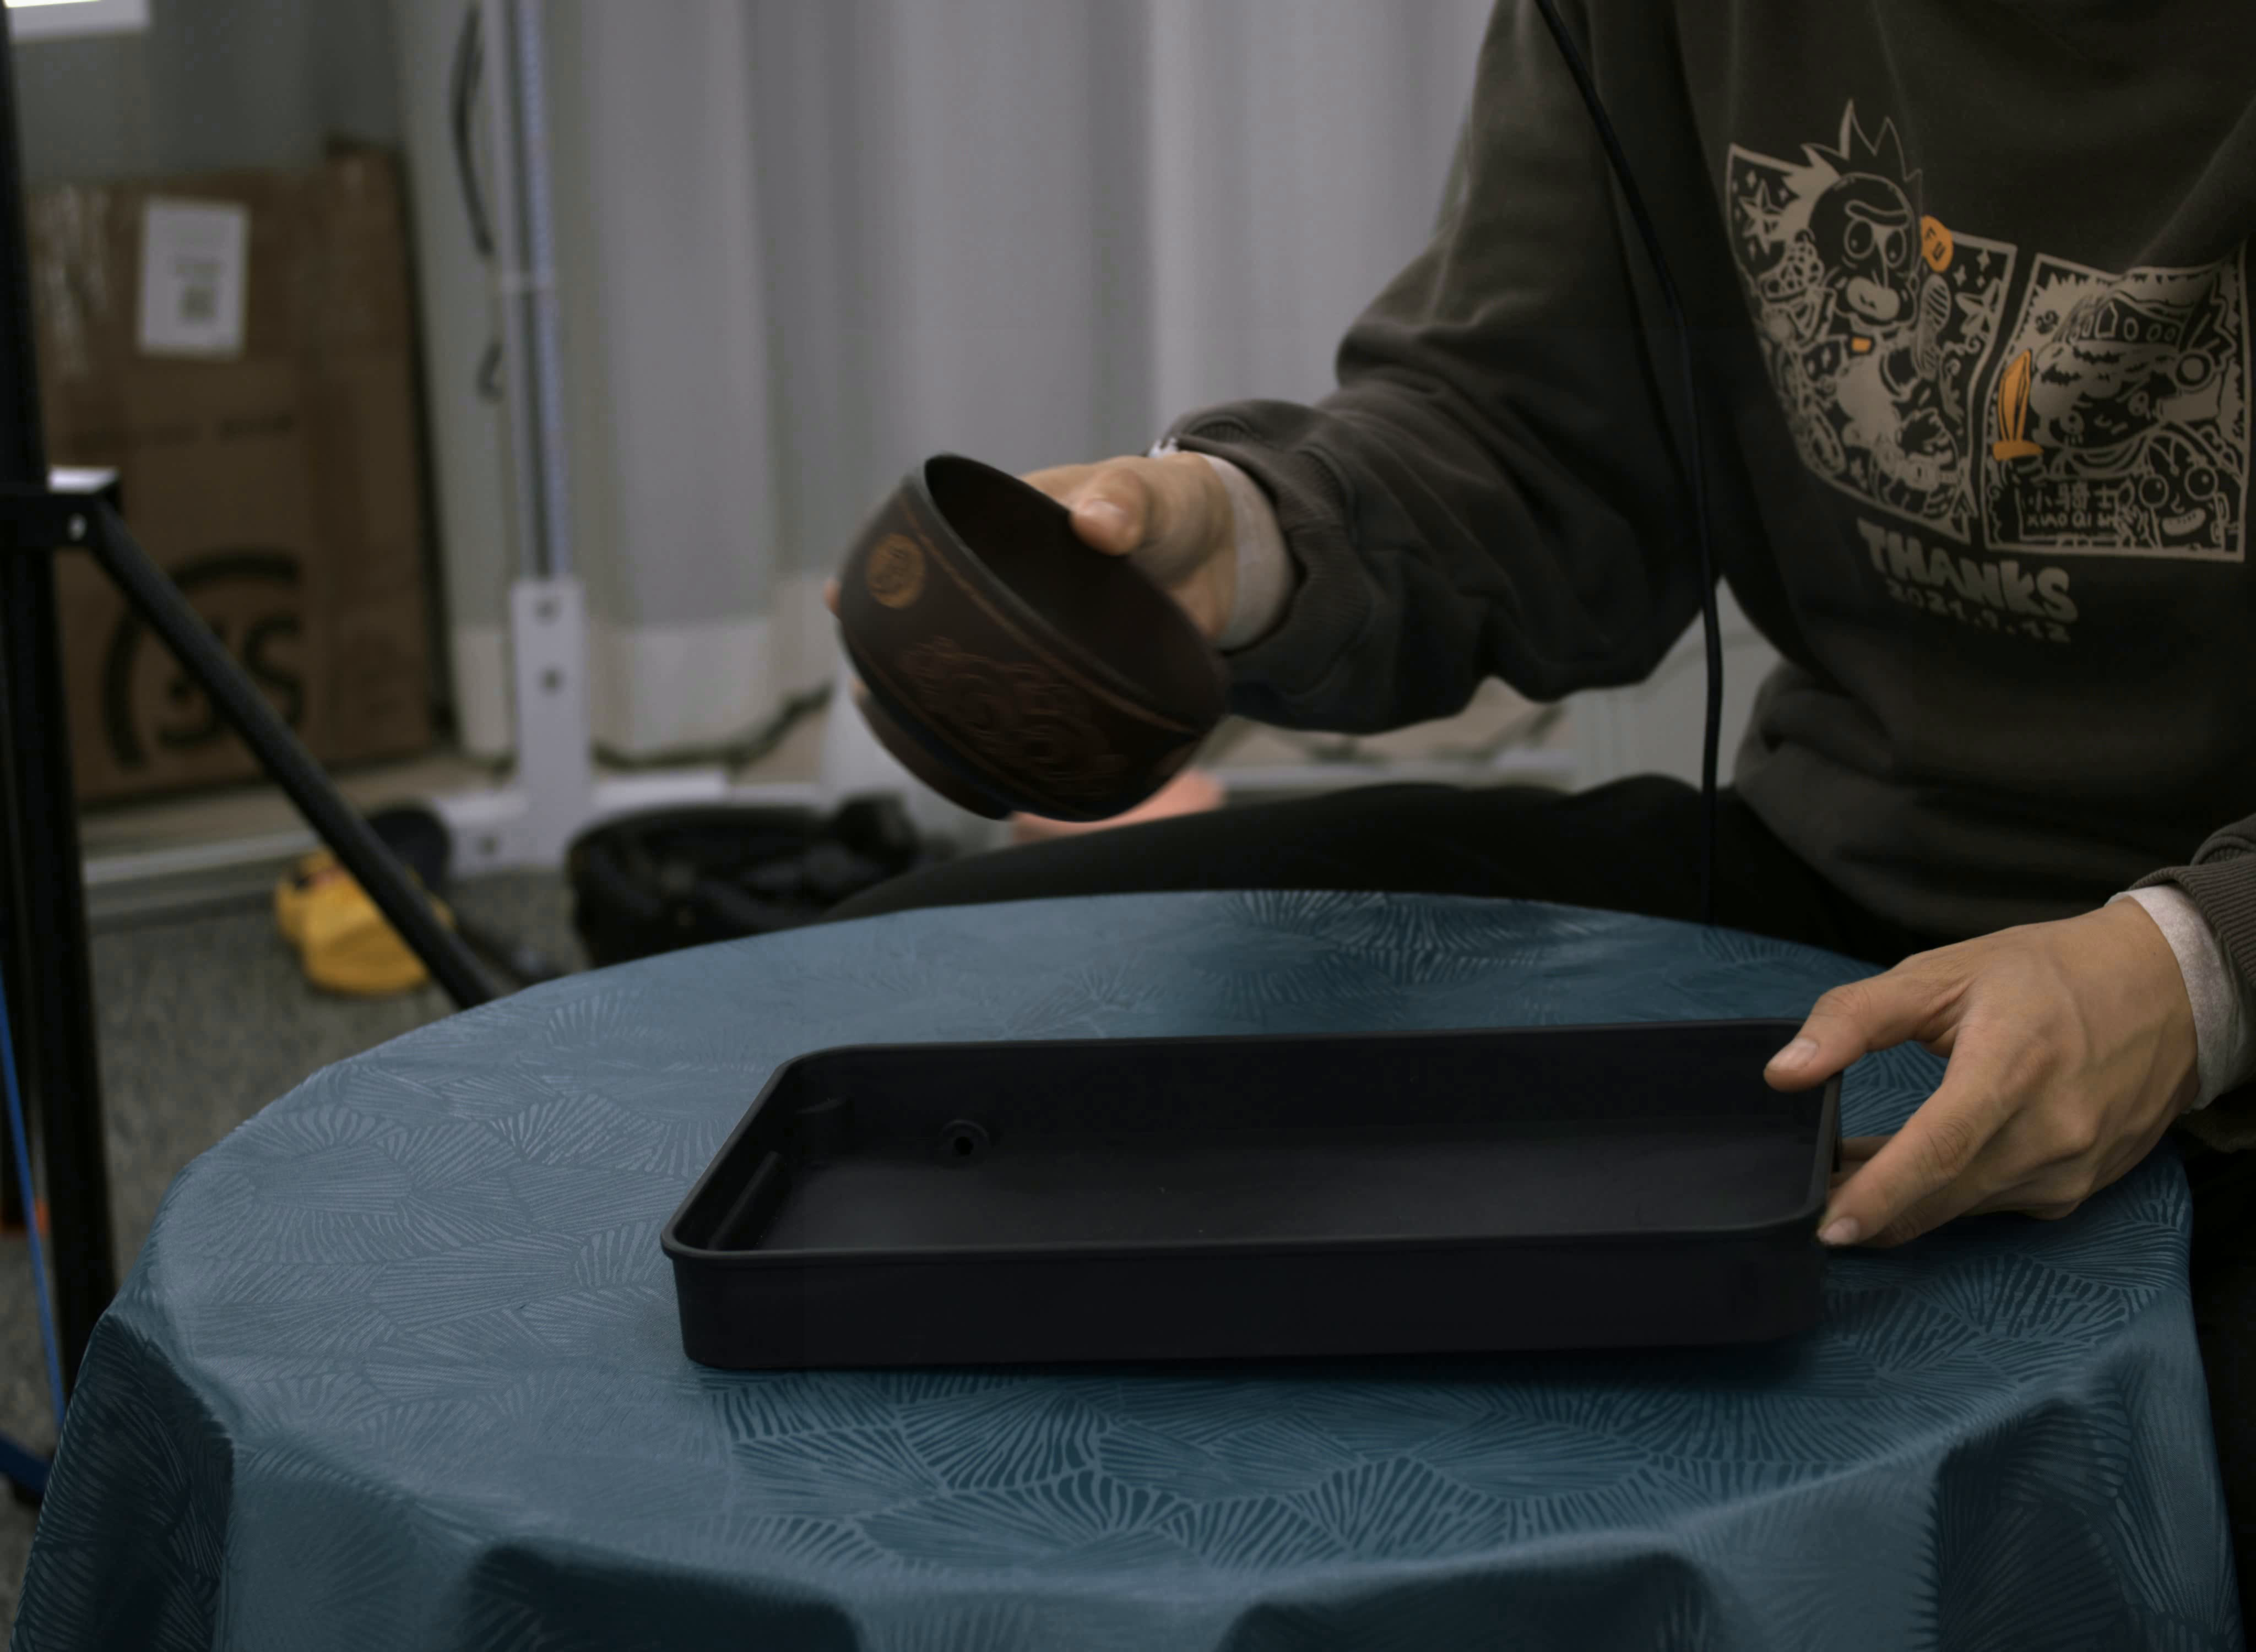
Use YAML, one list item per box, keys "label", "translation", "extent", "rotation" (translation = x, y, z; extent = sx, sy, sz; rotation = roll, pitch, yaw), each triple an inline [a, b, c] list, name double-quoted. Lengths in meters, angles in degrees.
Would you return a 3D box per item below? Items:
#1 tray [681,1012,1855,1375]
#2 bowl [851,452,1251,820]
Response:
- label: "tray"
  translation: [0.045, 0.101, 1.488]
  extent: [0.319, 0.037, 0.183]
  rotation: [-3, 15, 10]
- label: "bowl"
  translation: [-0.030, -0.046, 1.538]
  extent: [0.116, 0.070, 0.119]
  rotation: [34, 16, -13]
